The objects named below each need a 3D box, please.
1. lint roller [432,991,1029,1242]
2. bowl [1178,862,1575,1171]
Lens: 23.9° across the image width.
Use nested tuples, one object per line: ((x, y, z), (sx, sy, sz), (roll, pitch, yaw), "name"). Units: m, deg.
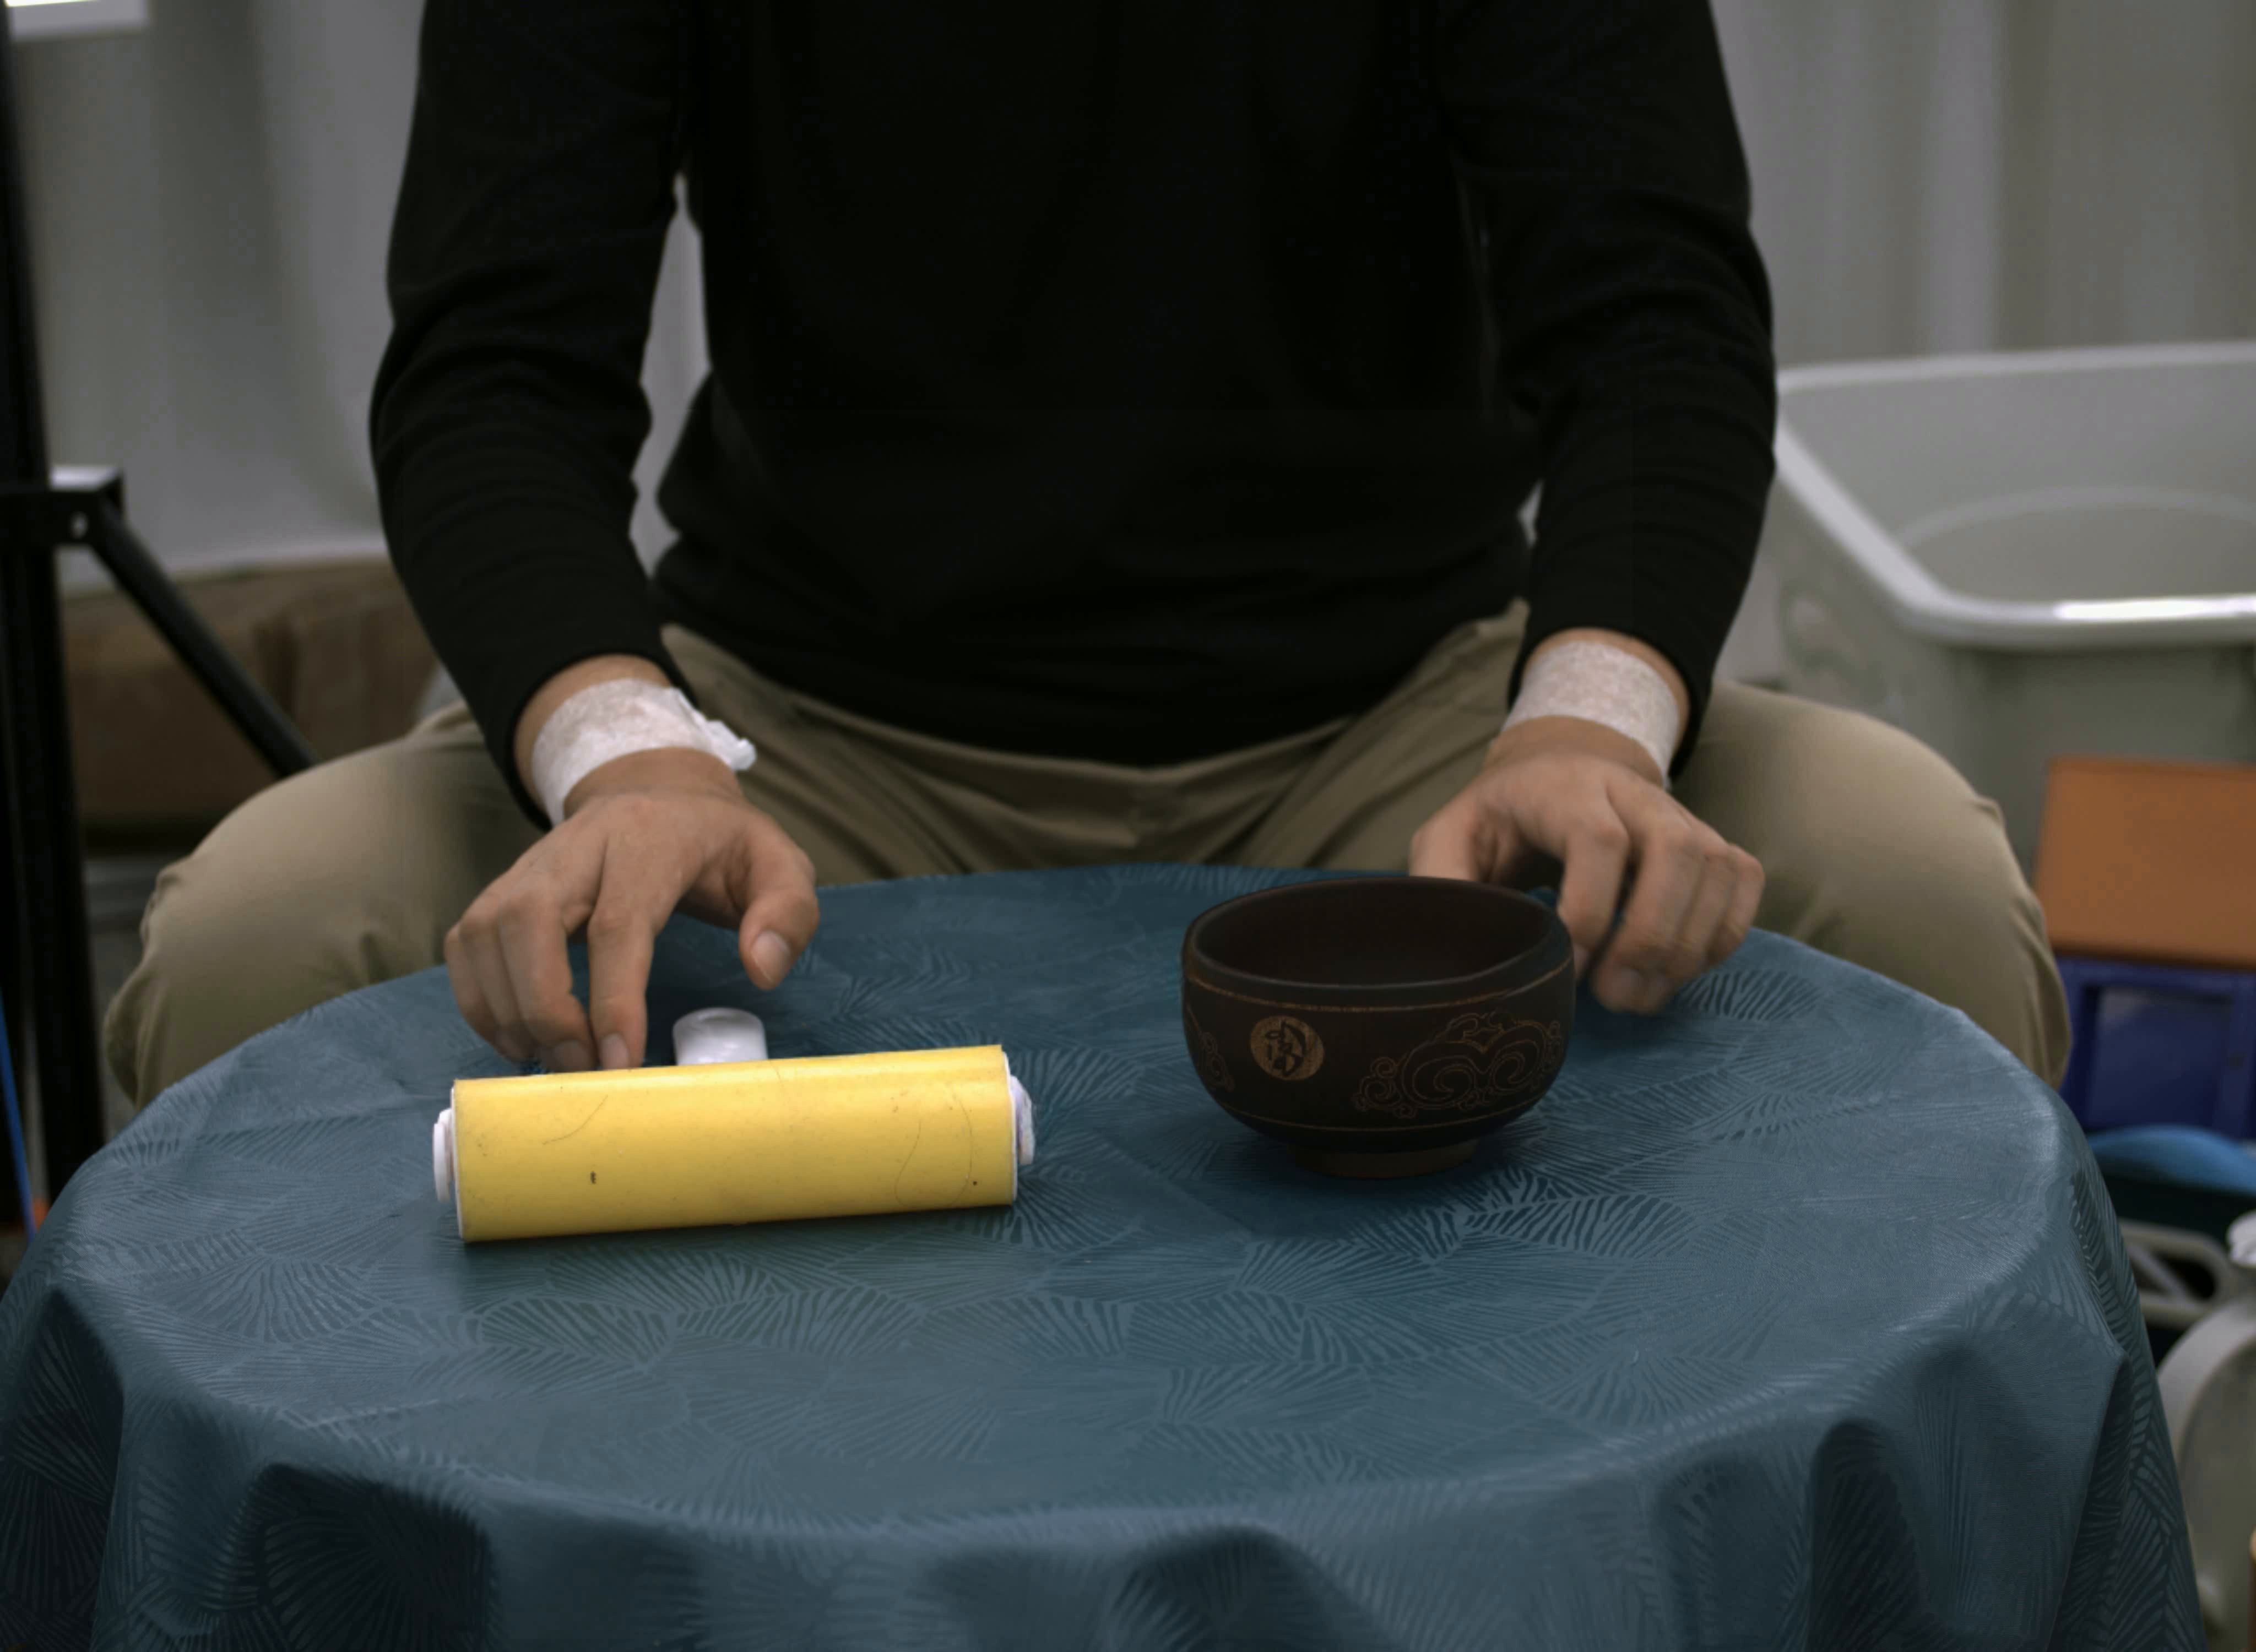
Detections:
((-0.125, 0.071, 1.614), (0.172, 0.051, 0.194), (-4, 20, -6), "lint roller")
((0.074, 0.061, 1.575), (0.117, 0.070, 0.118), (-2, 16, -1), "bowl")
